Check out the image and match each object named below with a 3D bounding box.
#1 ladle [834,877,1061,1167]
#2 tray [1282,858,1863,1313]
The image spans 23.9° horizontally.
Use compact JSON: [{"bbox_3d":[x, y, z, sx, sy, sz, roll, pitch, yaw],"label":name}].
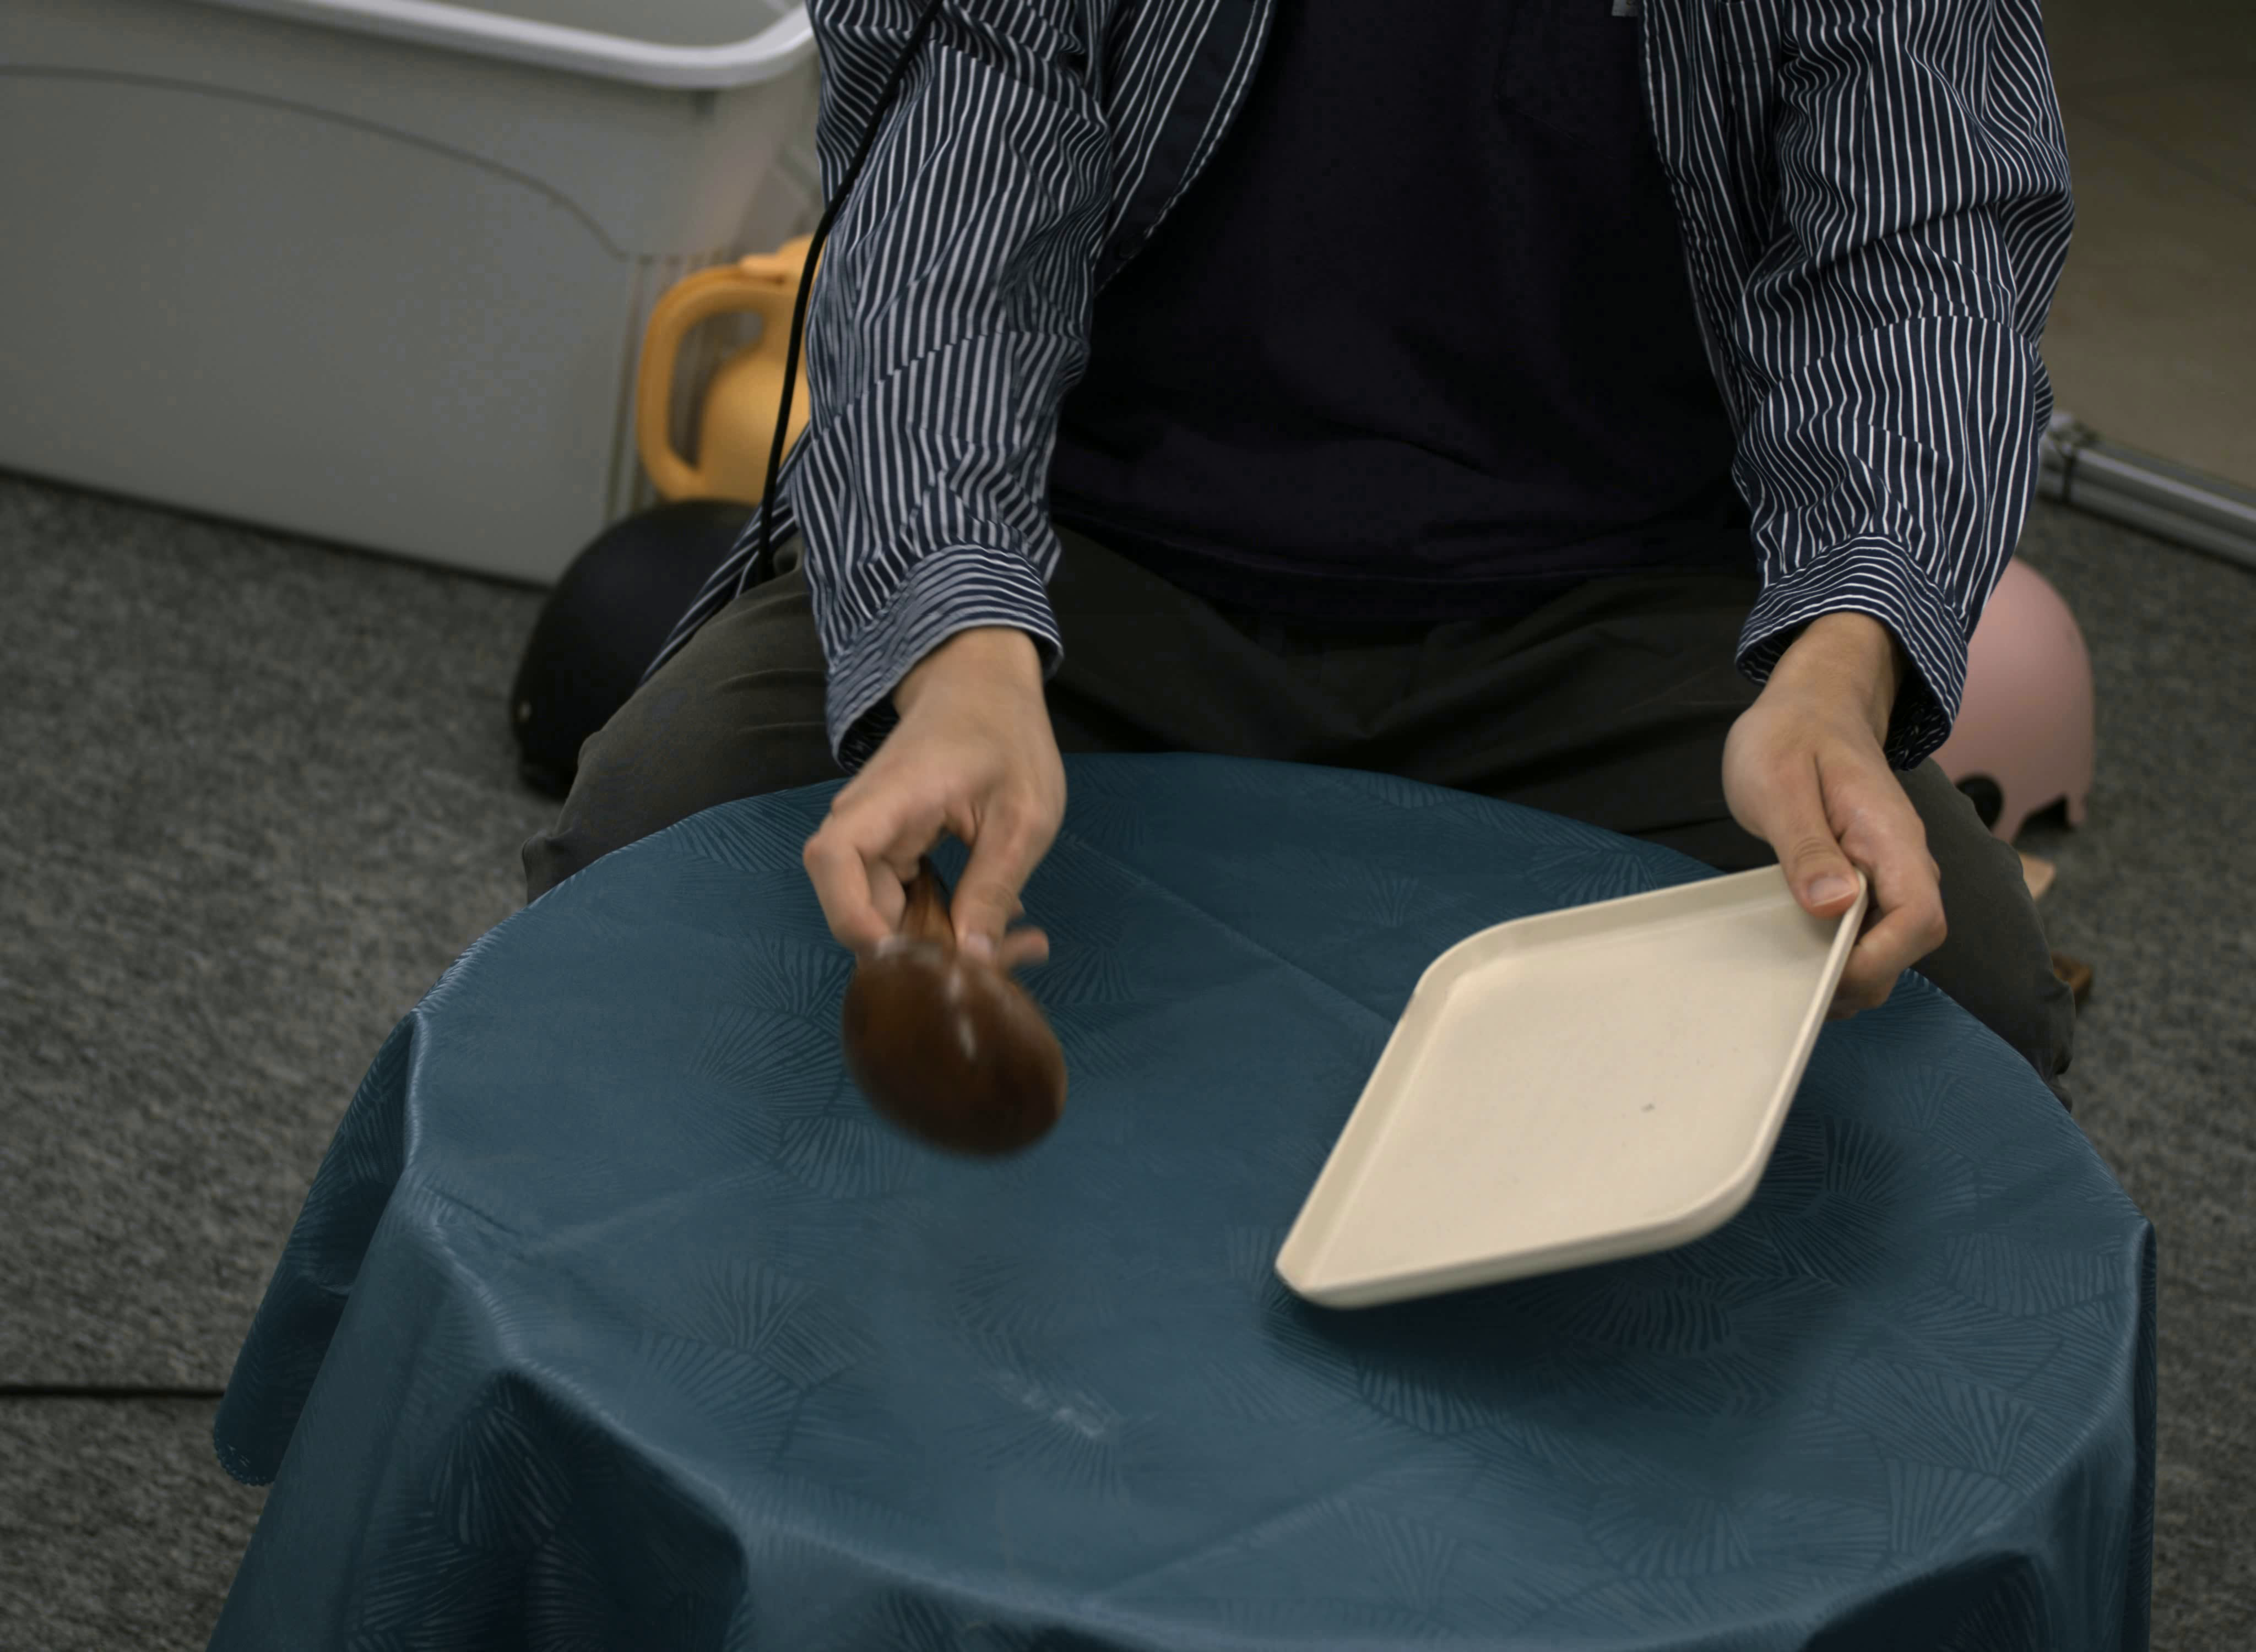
[{"bbox_3d":[-0.051,0.044,1.757,0.076,0.082,0.275,-27,11,11],"label":"ladle"},{"bbox_3d":[0.153,0.087,1.784,0.171,0.017,0.240,-14,23,26],"label":"tray"}]
